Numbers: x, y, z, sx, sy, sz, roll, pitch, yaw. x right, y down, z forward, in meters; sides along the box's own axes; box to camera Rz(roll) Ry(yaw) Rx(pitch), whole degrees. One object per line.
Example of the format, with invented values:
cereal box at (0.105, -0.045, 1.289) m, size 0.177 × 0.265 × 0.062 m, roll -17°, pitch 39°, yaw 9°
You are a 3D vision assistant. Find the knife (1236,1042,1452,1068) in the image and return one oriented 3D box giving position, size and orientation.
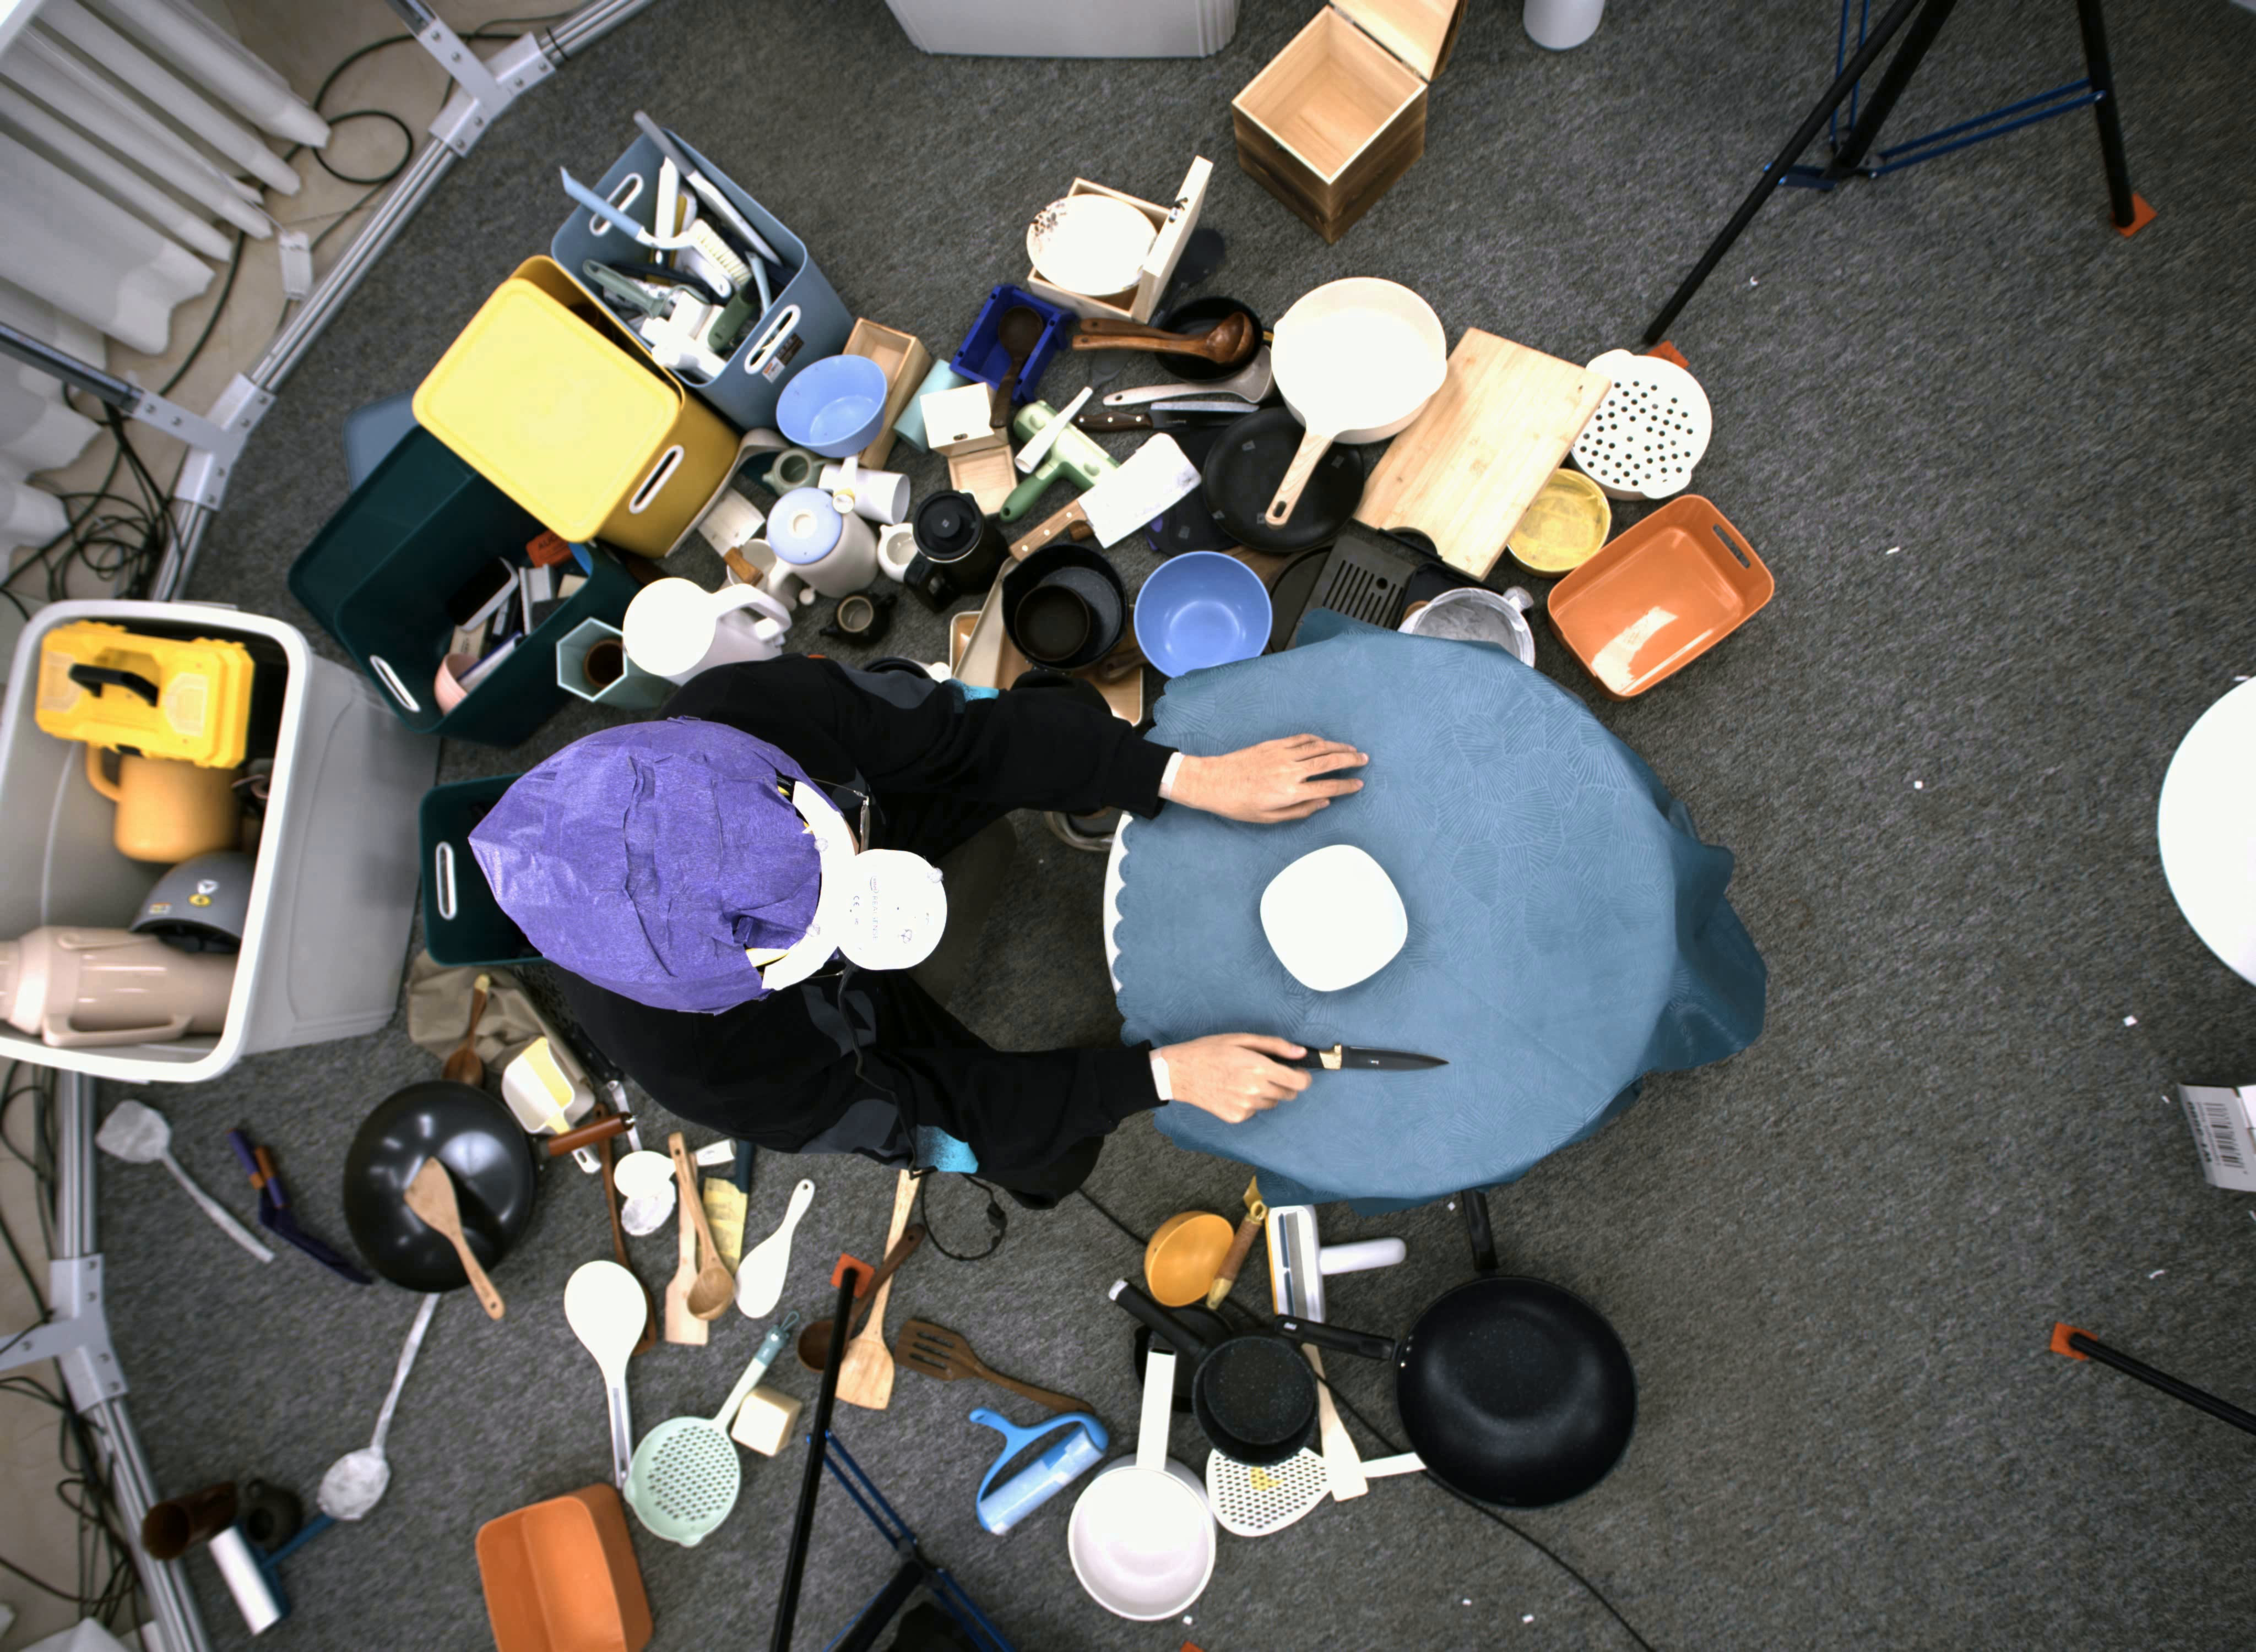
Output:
knife at (0.226, 0.239, 1.453) m, size 0.226 × 0.017 × 0.026 m, roll -1°, pitch 88°, yaw 10°

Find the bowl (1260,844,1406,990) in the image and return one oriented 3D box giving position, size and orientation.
bowl at (0.213, 0.094, 1.442) m, size 0.152 × 0.058 × 0.151 m, roll -1°, pitch 88°, yaw 10°
